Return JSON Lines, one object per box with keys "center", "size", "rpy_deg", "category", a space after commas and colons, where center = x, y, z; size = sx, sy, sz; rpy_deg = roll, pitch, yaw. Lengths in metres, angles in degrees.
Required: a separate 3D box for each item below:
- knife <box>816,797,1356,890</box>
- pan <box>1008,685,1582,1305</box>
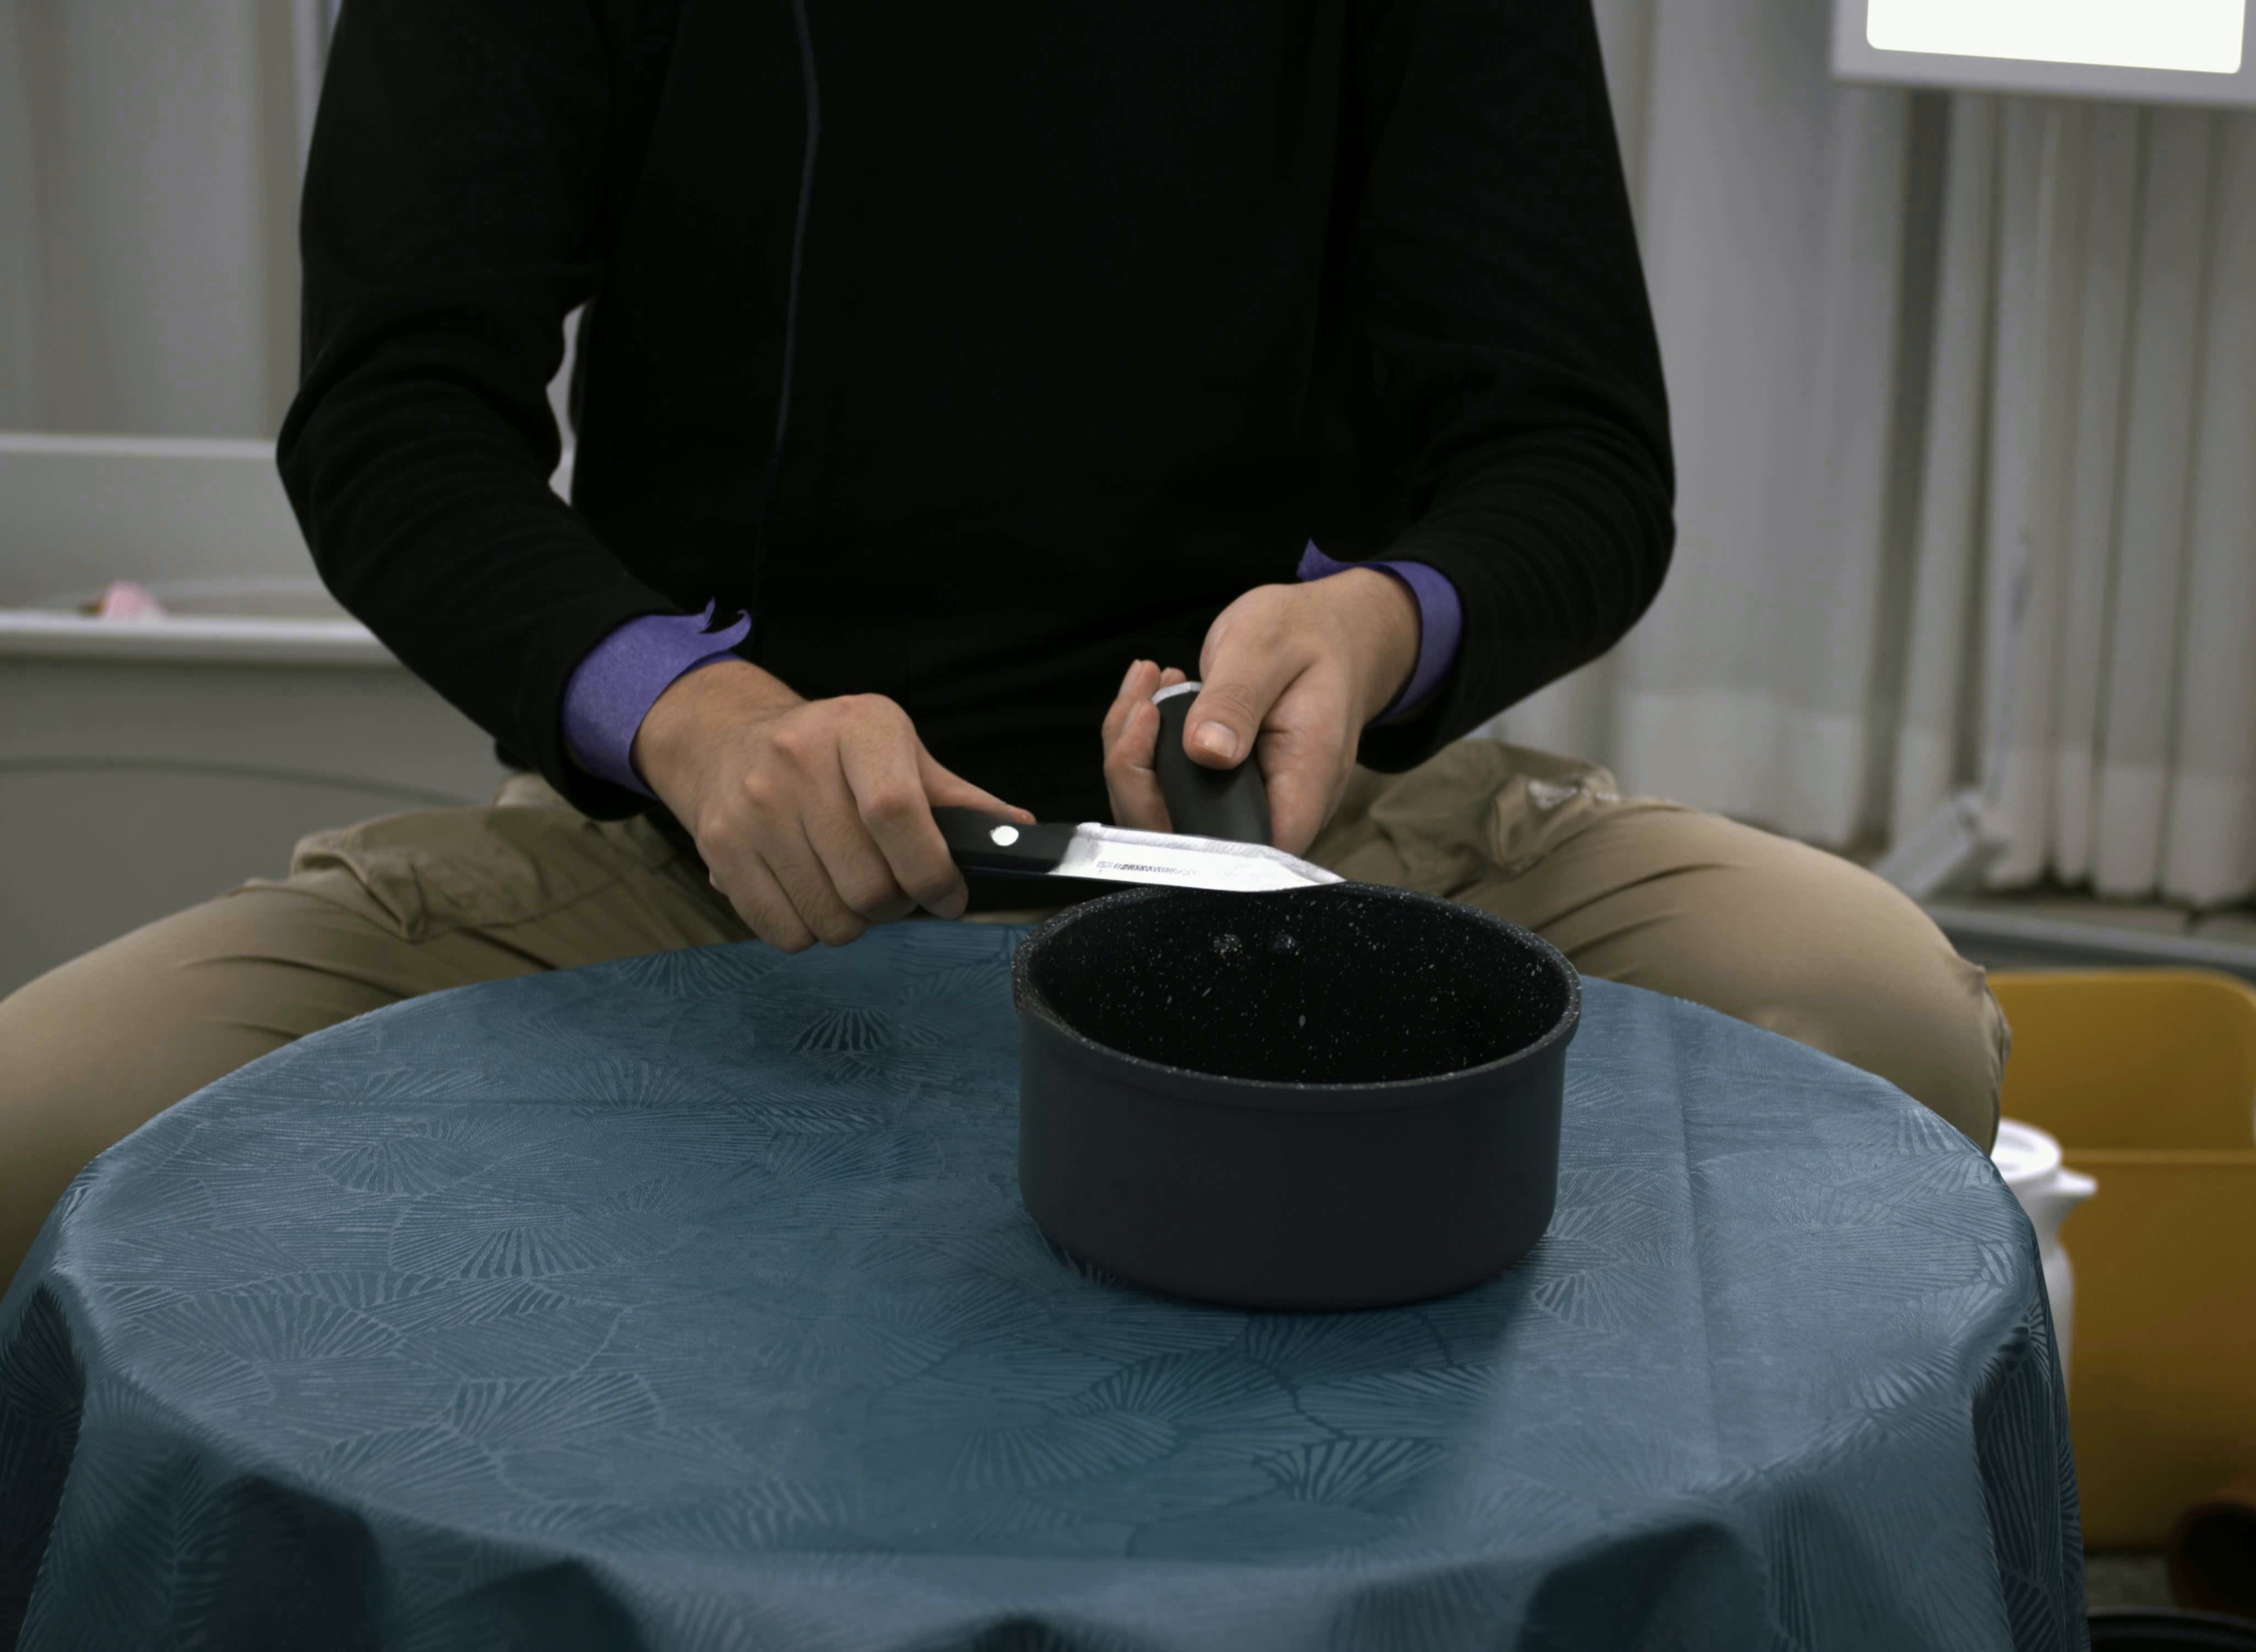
{"center": [-0.018, 0.008, 1.667], "size": [0.235, 0.016, 0.024], "rpy_deg": [5, 51, 43], "category": "knife"}
{"center": [0.043, 0.049, 1.653], "size": [0.172, 0.087, 0.326], "rpy_deg": [1, 21, -4], "category": "pan"}
